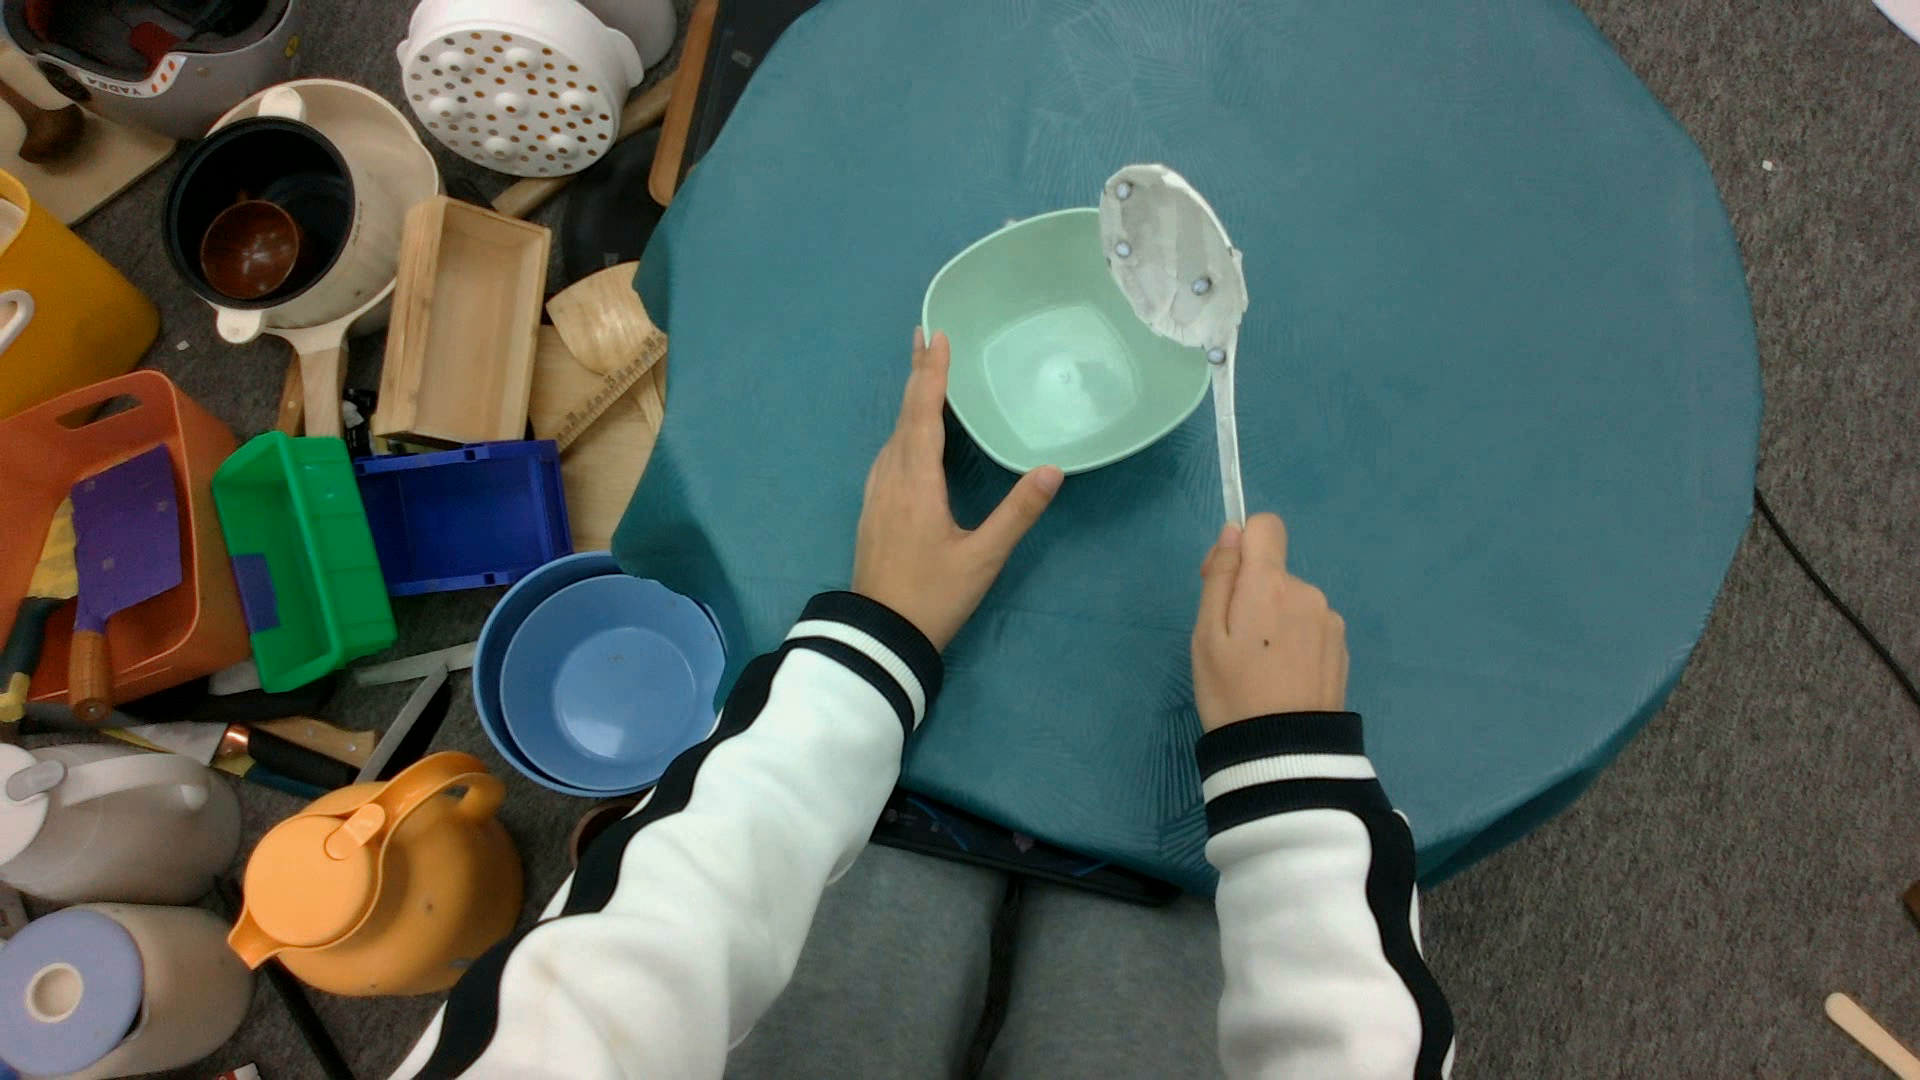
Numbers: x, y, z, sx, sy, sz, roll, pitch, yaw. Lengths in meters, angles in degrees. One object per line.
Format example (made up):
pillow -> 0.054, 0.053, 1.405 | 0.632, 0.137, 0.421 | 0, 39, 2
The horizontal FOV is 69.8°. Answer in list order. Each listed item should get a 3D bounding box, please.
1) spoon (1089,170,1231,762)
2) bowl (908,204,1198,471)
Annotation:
spoon -> 0.092, -0.033, 0.653 | 0.059, 0.100, 0.277 | 1, 89, -19
bowl -> 0.047, -0.098, 0.724 | 0.151, 0.058, 0.152 | 0, 73, 0
